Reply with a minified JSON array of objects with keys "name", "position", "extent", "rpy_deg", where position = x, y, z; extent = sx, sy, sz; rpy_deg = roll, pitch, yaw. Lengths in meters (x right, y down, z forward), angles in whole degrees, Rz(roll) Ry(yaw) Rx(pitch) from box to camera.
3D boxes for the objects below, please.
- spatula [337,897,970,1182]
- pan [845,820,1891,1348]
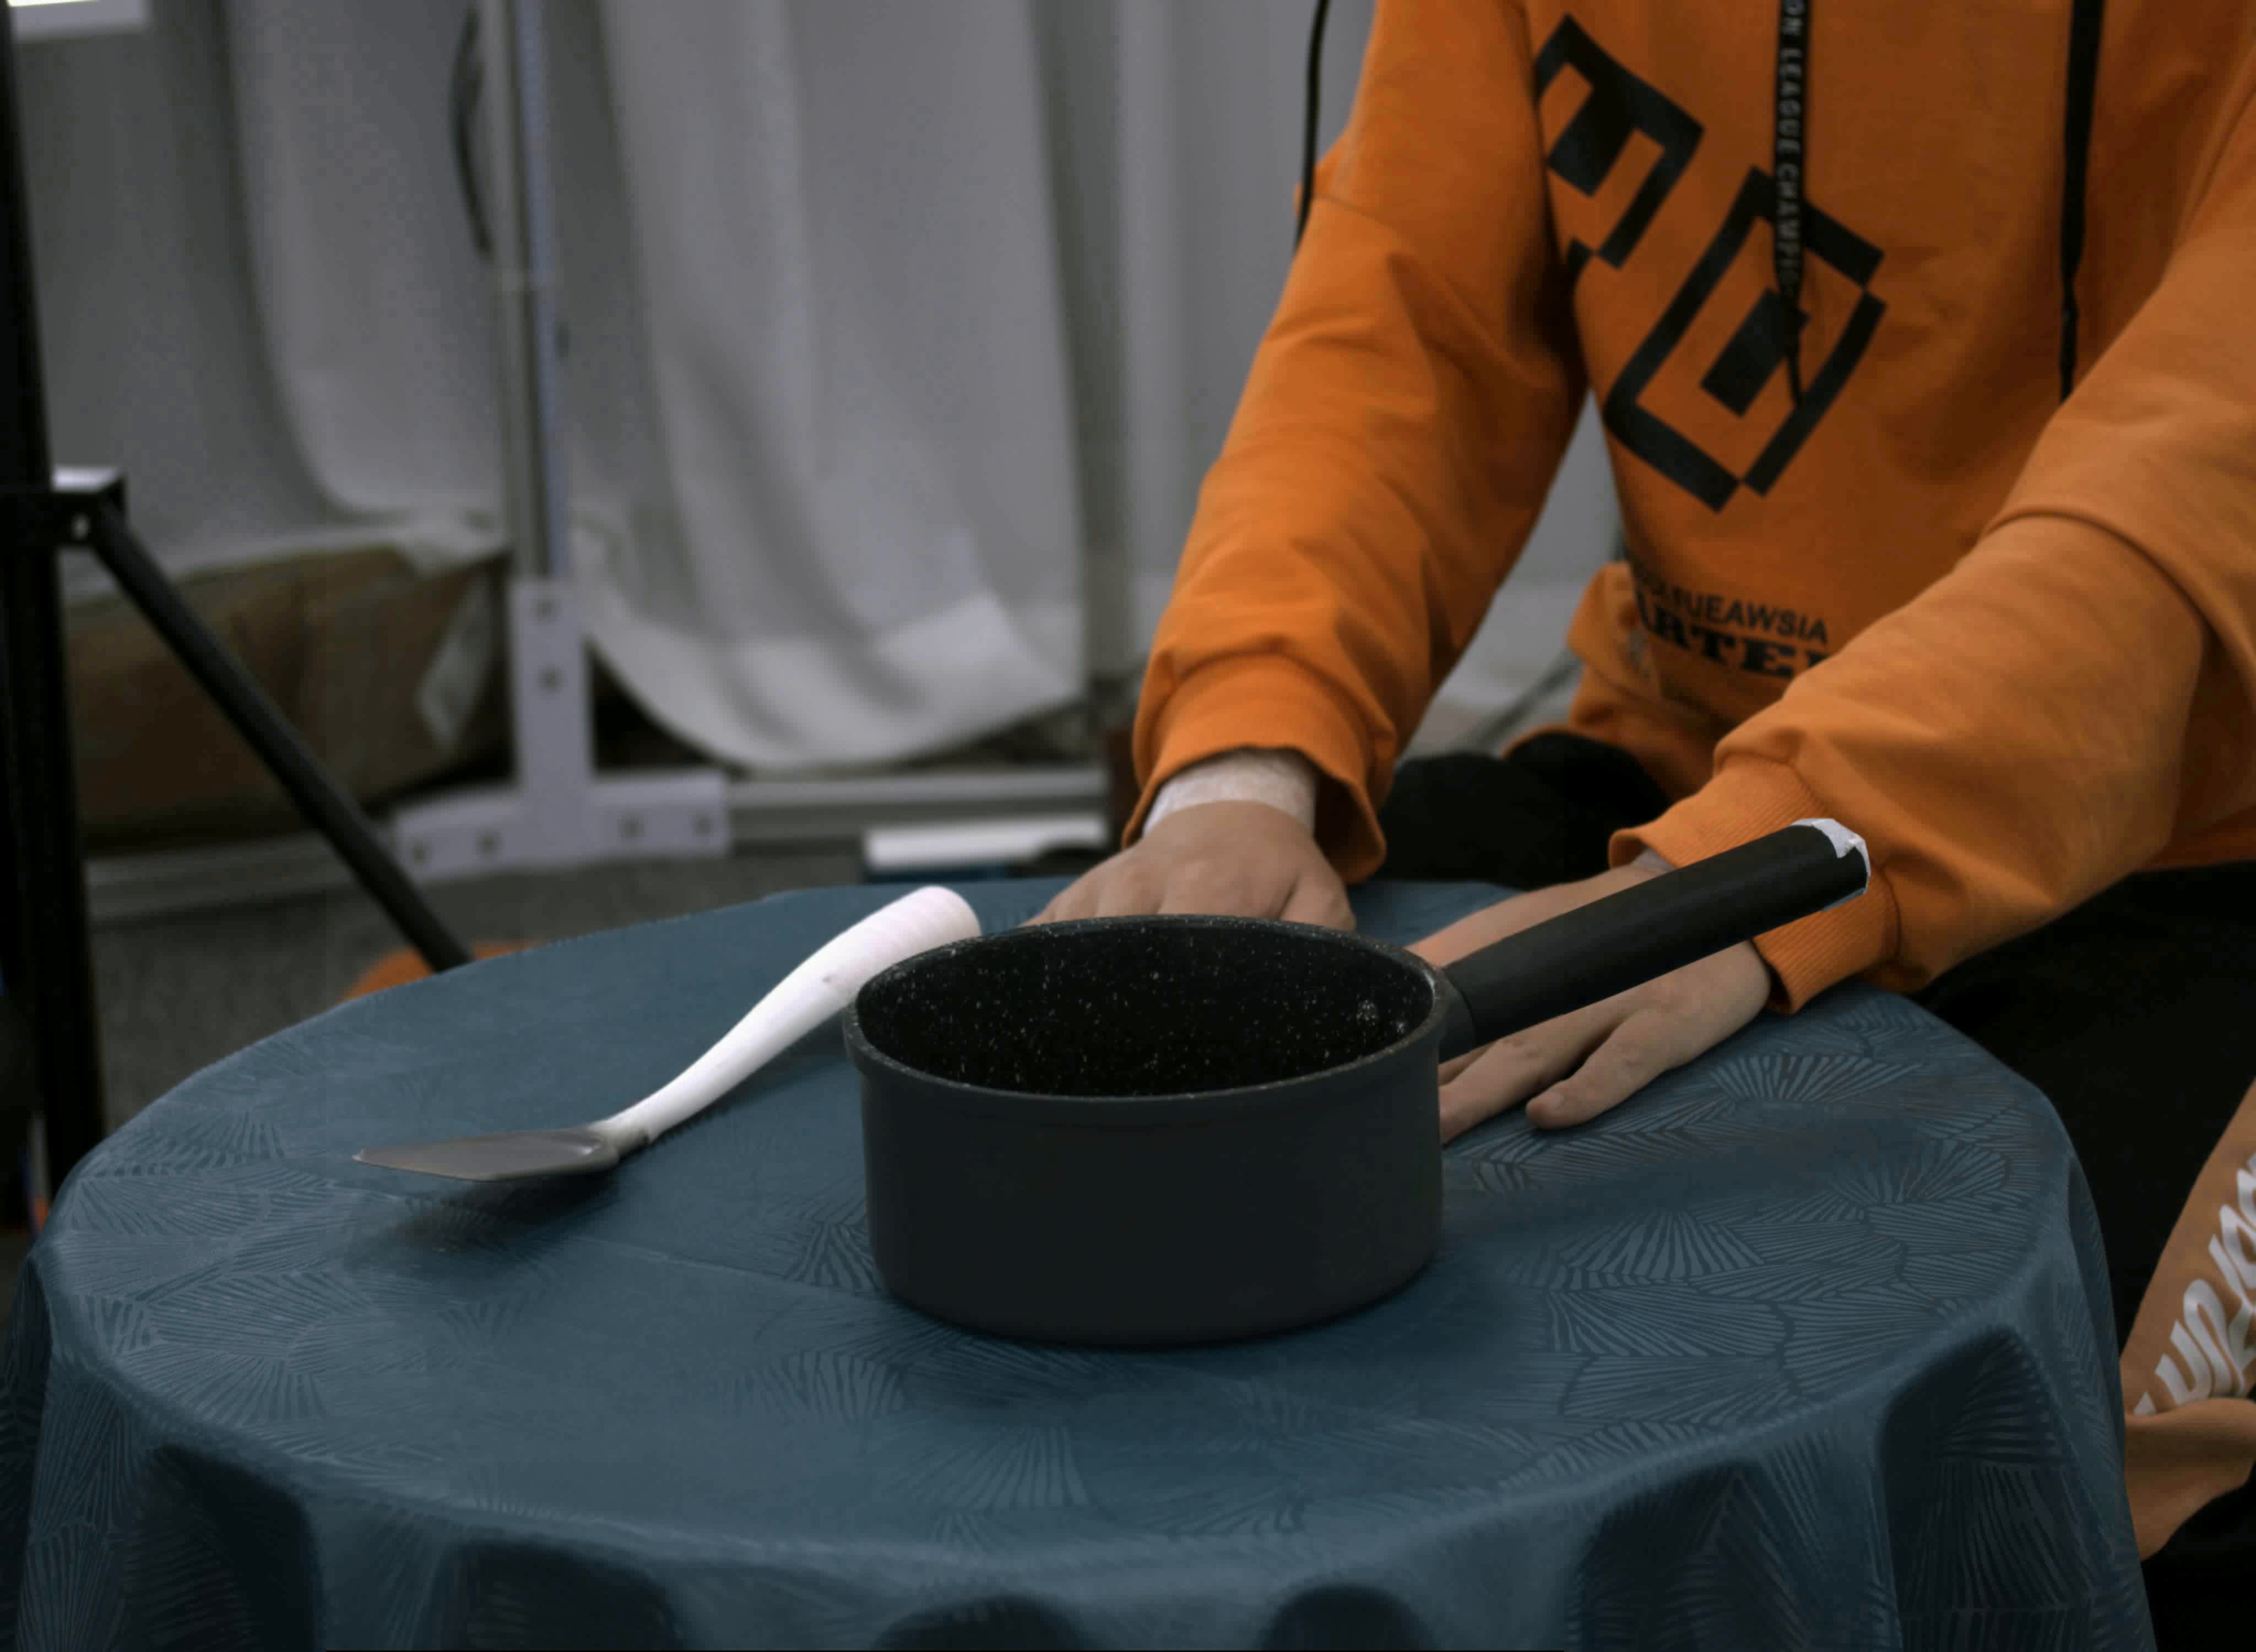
[{"name":"spatula","position":[-0.136,0.073,1.647],"extent":[0.060,0.032,0.282],"rpy_deg":[12,20,29]},{"name":"pan","position":[0.077,0.069,1.527],"extent":[0.322,0.086,0.175],"rpy_deg":[-11,18,-23]}]
